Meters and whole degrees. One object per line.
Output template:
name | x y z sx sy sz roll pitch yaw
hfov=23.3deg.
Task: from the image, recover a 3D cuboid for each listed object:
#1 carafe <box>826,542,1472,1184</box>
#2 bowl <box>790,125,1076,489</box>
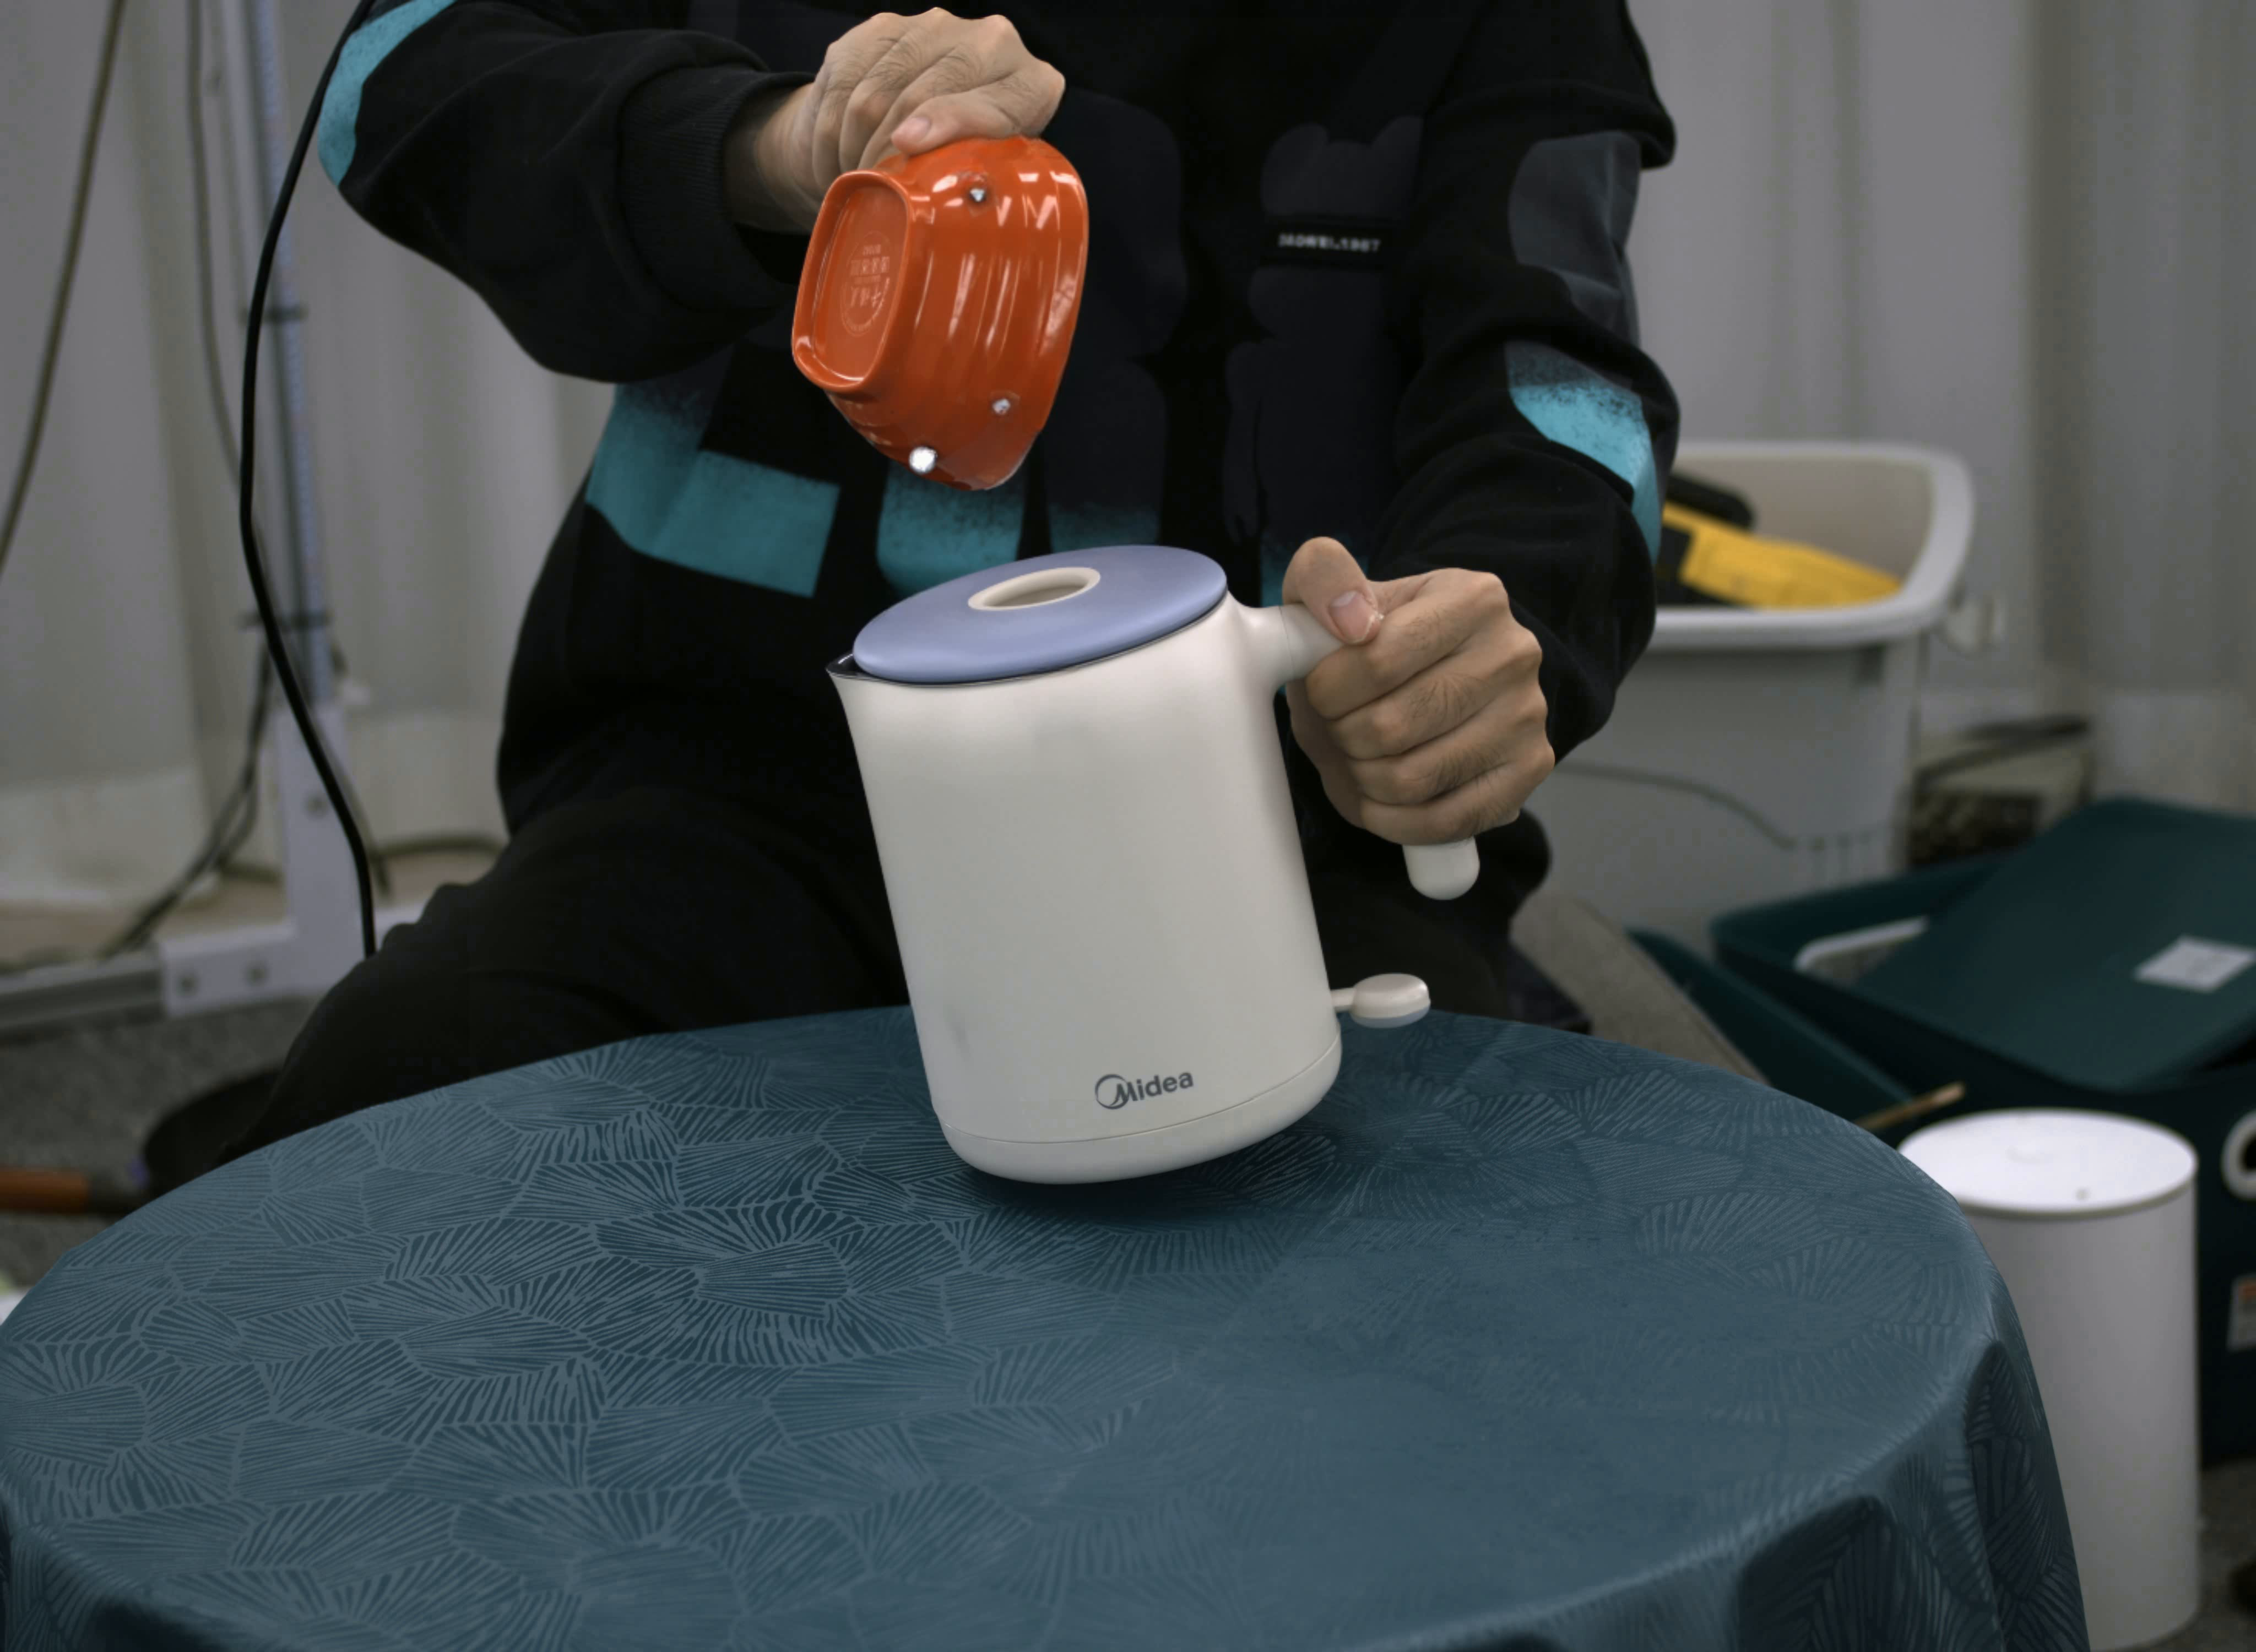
carafe | 0.012 0.006 1.717 0.190 0.181 0.133 -10 16 -3
bowl | -0.065 -0.161 1.664 0.051 0.119 0.120 8 8 -28
